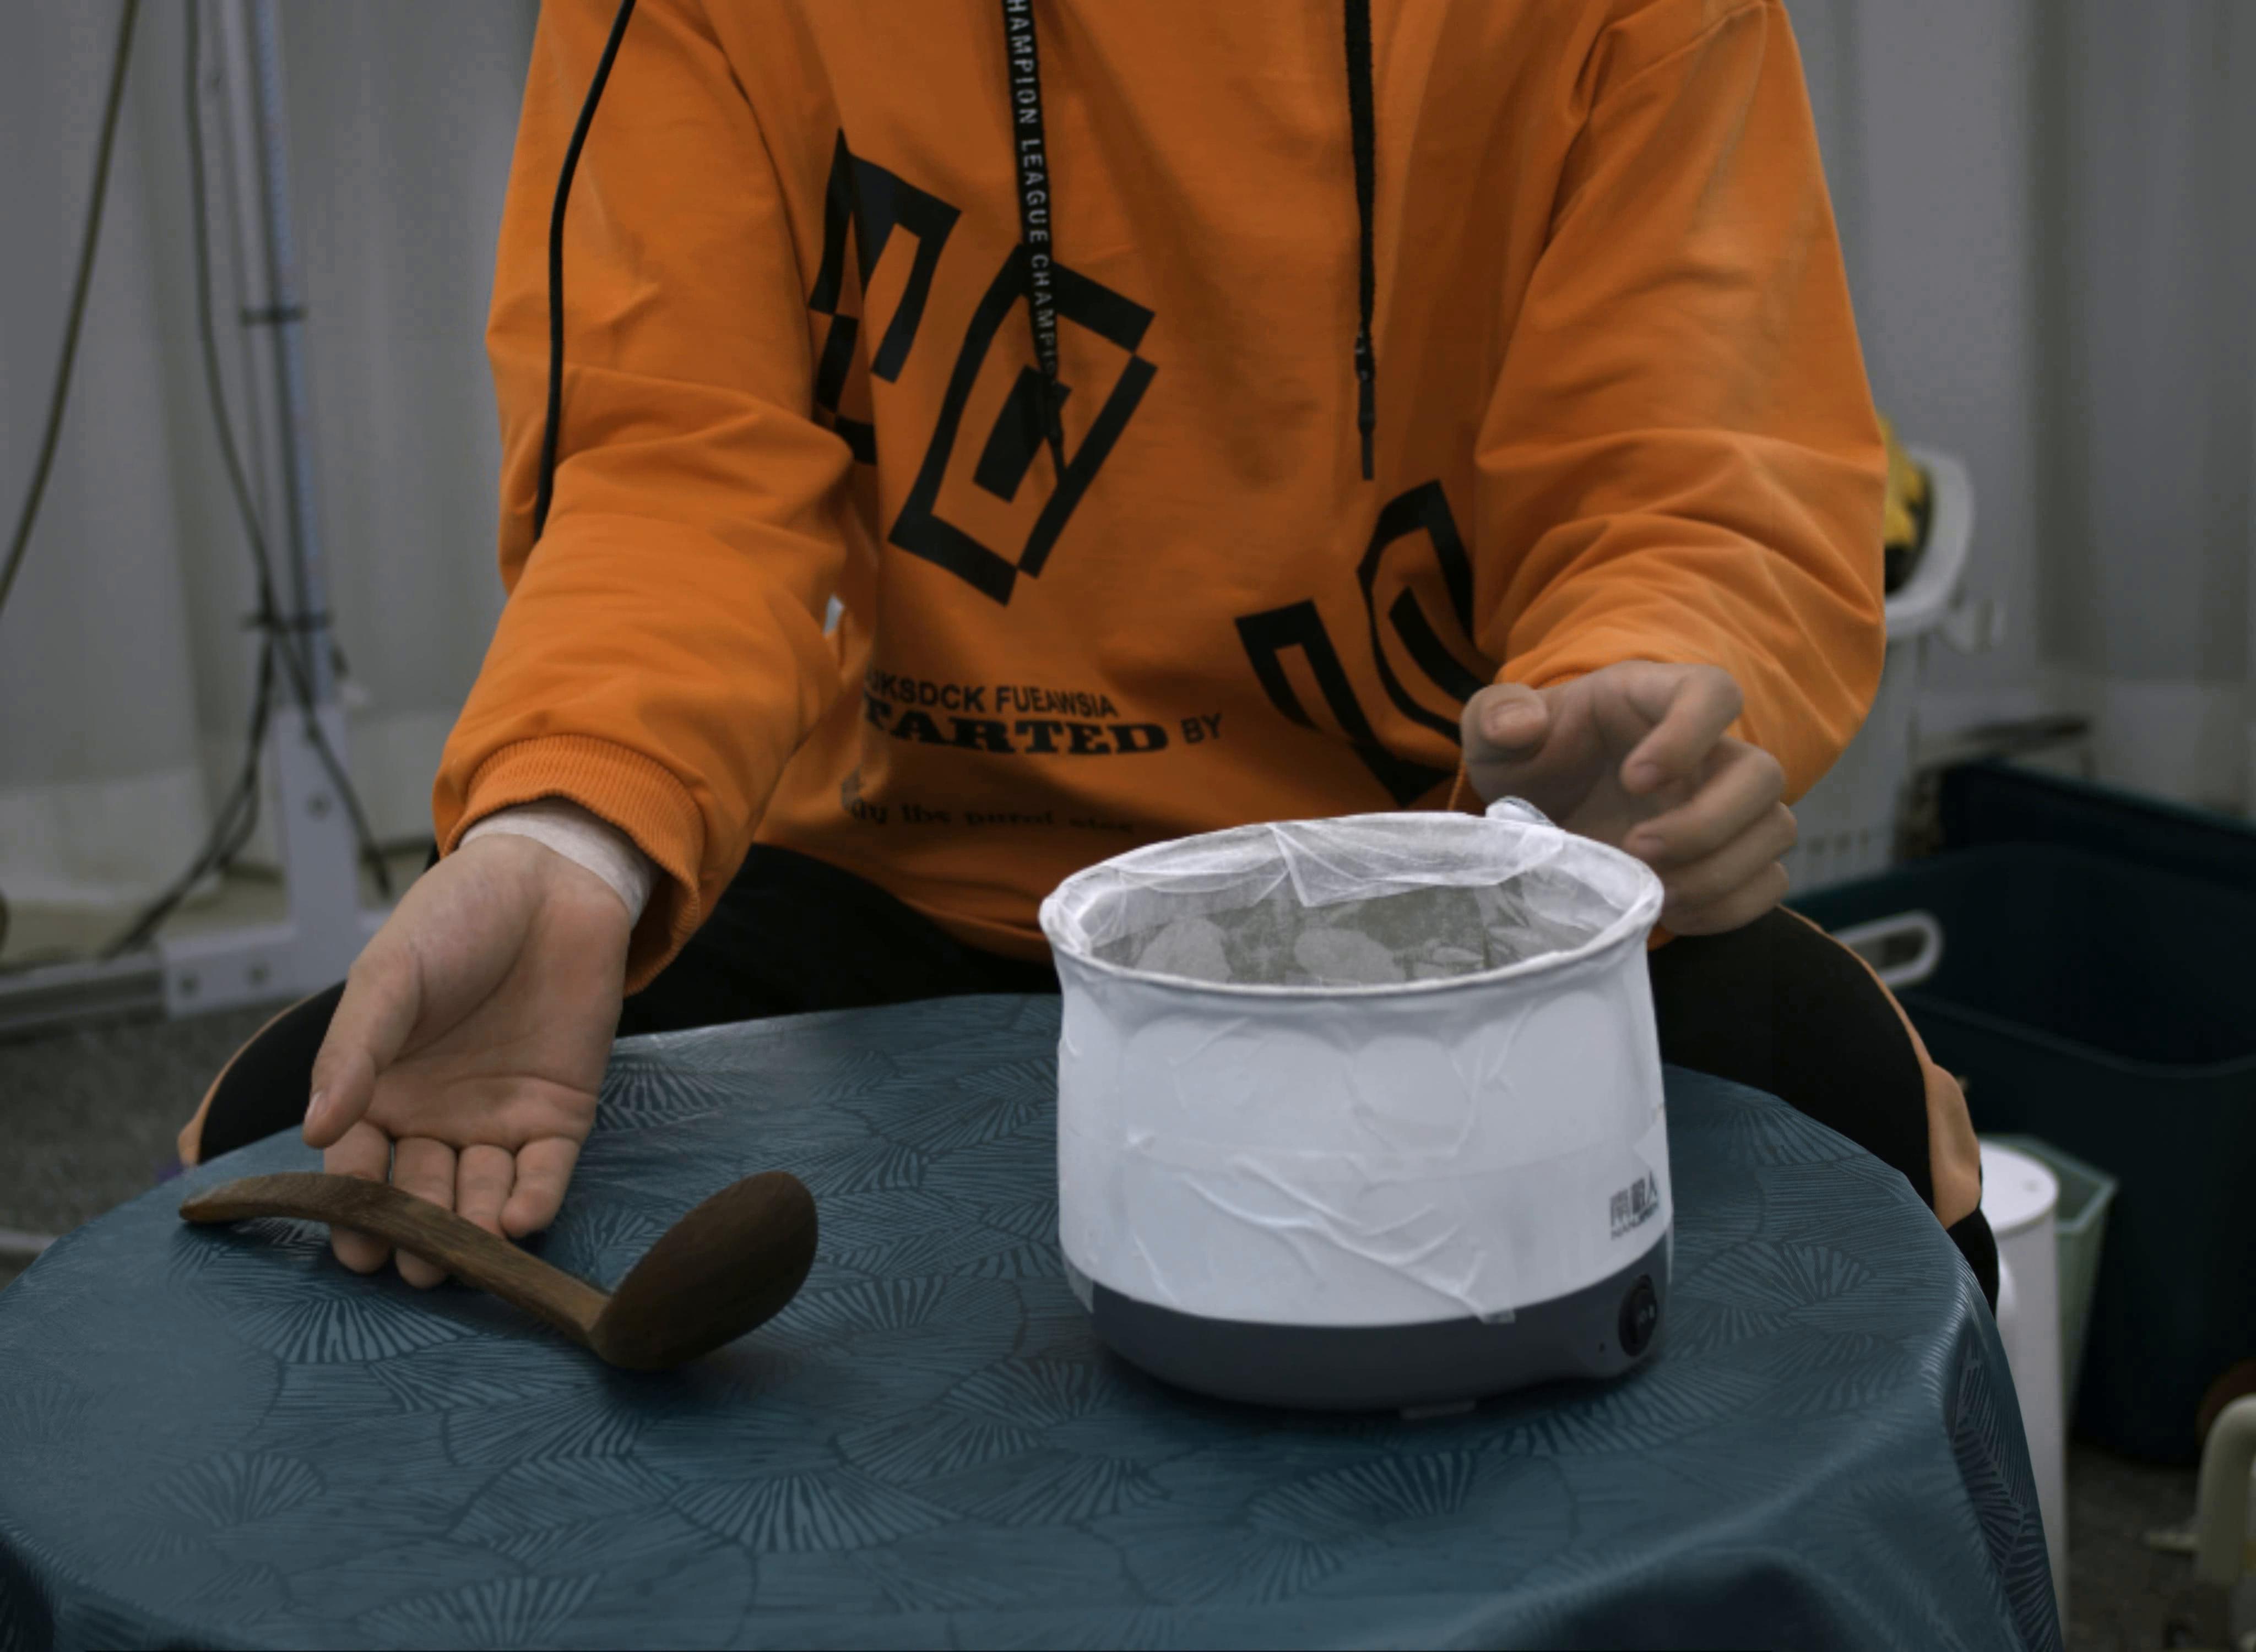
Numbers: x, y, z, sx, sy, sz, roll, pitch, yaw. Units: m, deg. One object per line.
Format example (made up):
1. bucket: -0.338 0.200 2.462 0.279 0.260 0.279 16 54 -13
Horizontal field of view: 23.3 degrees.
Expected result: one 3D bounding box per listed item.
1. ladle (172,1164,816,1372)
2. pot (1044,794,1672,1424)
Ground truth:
1. ladle: -0.199 0.110 1.637 0.275 0.071 0.076 13 20 44
2. pot: 0.080 0.075 1.586 0.179 0.136 0.234 6 17 29
